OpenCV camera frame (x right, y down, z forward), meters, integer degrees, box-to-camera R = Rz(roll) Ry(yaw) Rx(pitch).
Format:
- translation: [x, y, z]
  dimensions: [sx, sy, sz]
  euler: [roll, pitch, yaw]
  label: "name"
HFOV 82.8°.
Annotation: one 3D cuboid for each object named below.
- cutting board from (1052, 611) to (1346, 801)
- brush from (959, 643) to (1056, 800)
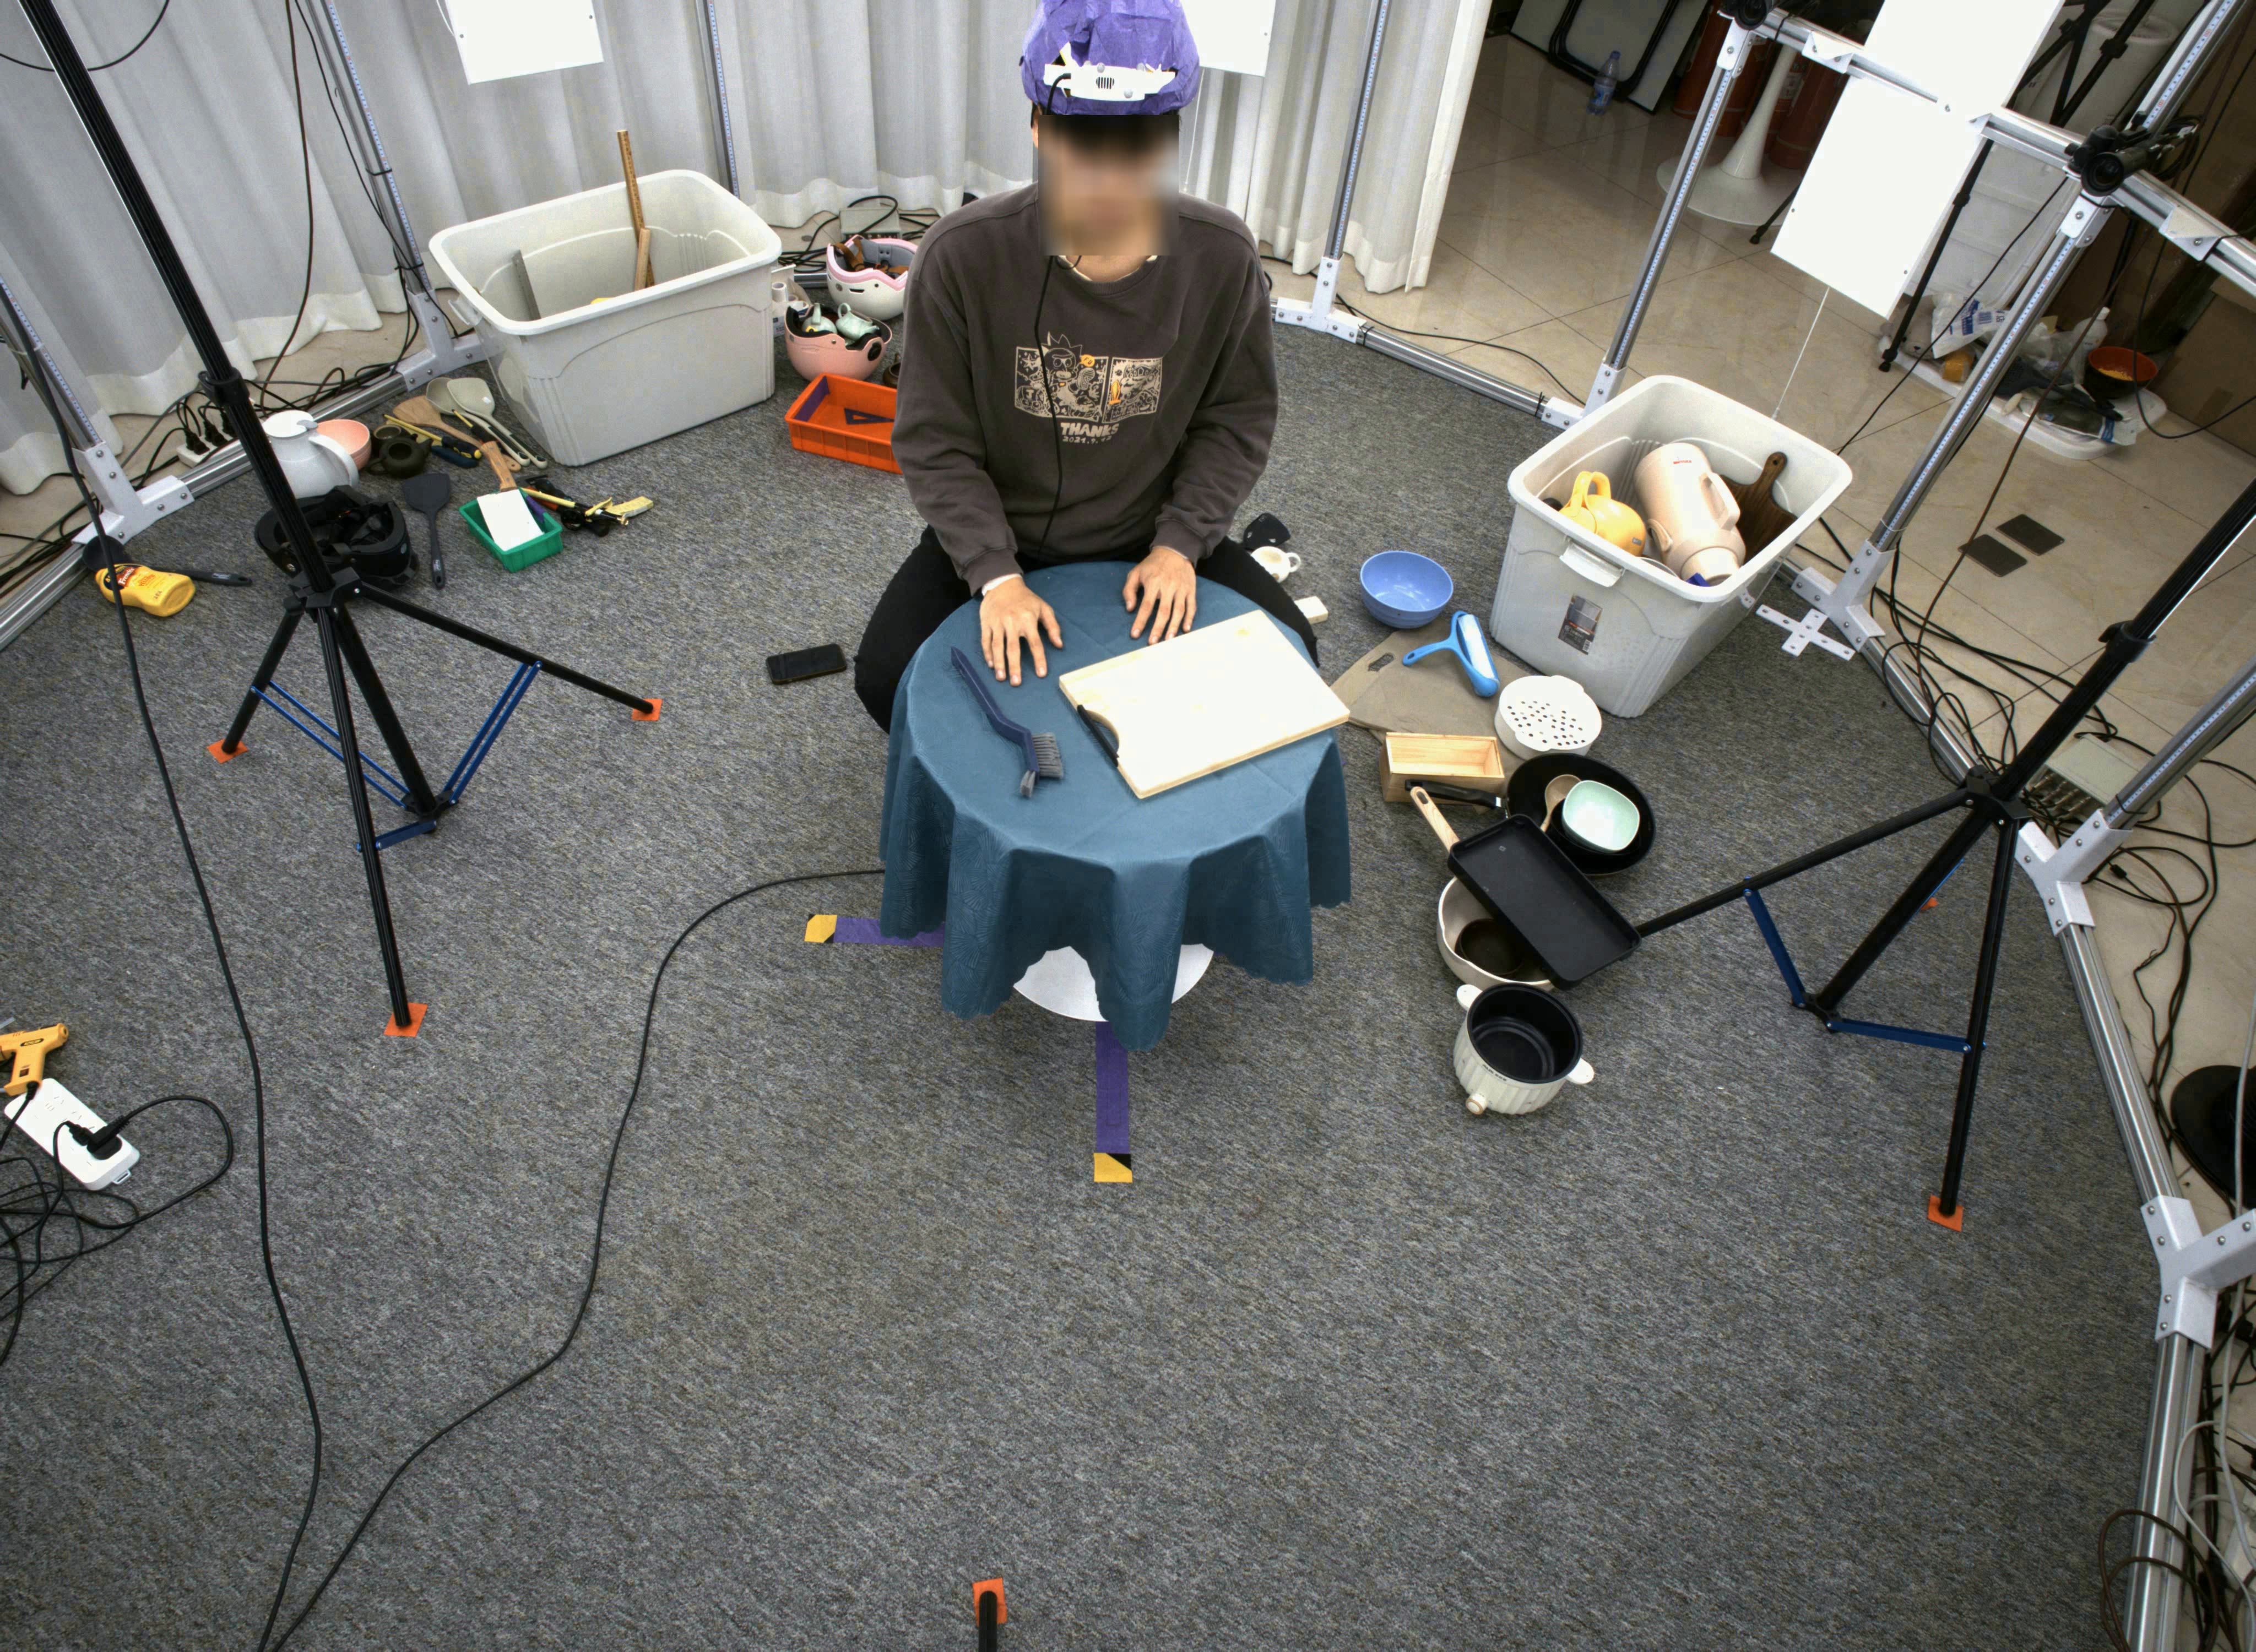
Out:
- translation: [0.102, -0.178, 1.816]
  dimensions: [0.349, 0.023, 0.256]
  euler: [-21, 53, -21]
  label: "cutting board"
- translation: [-0.185, -0.150, 1.764]
  dimensions: [0.096, 0.033, 0.278]
  euler: [-27, 57, -24]
  label: "brush"
